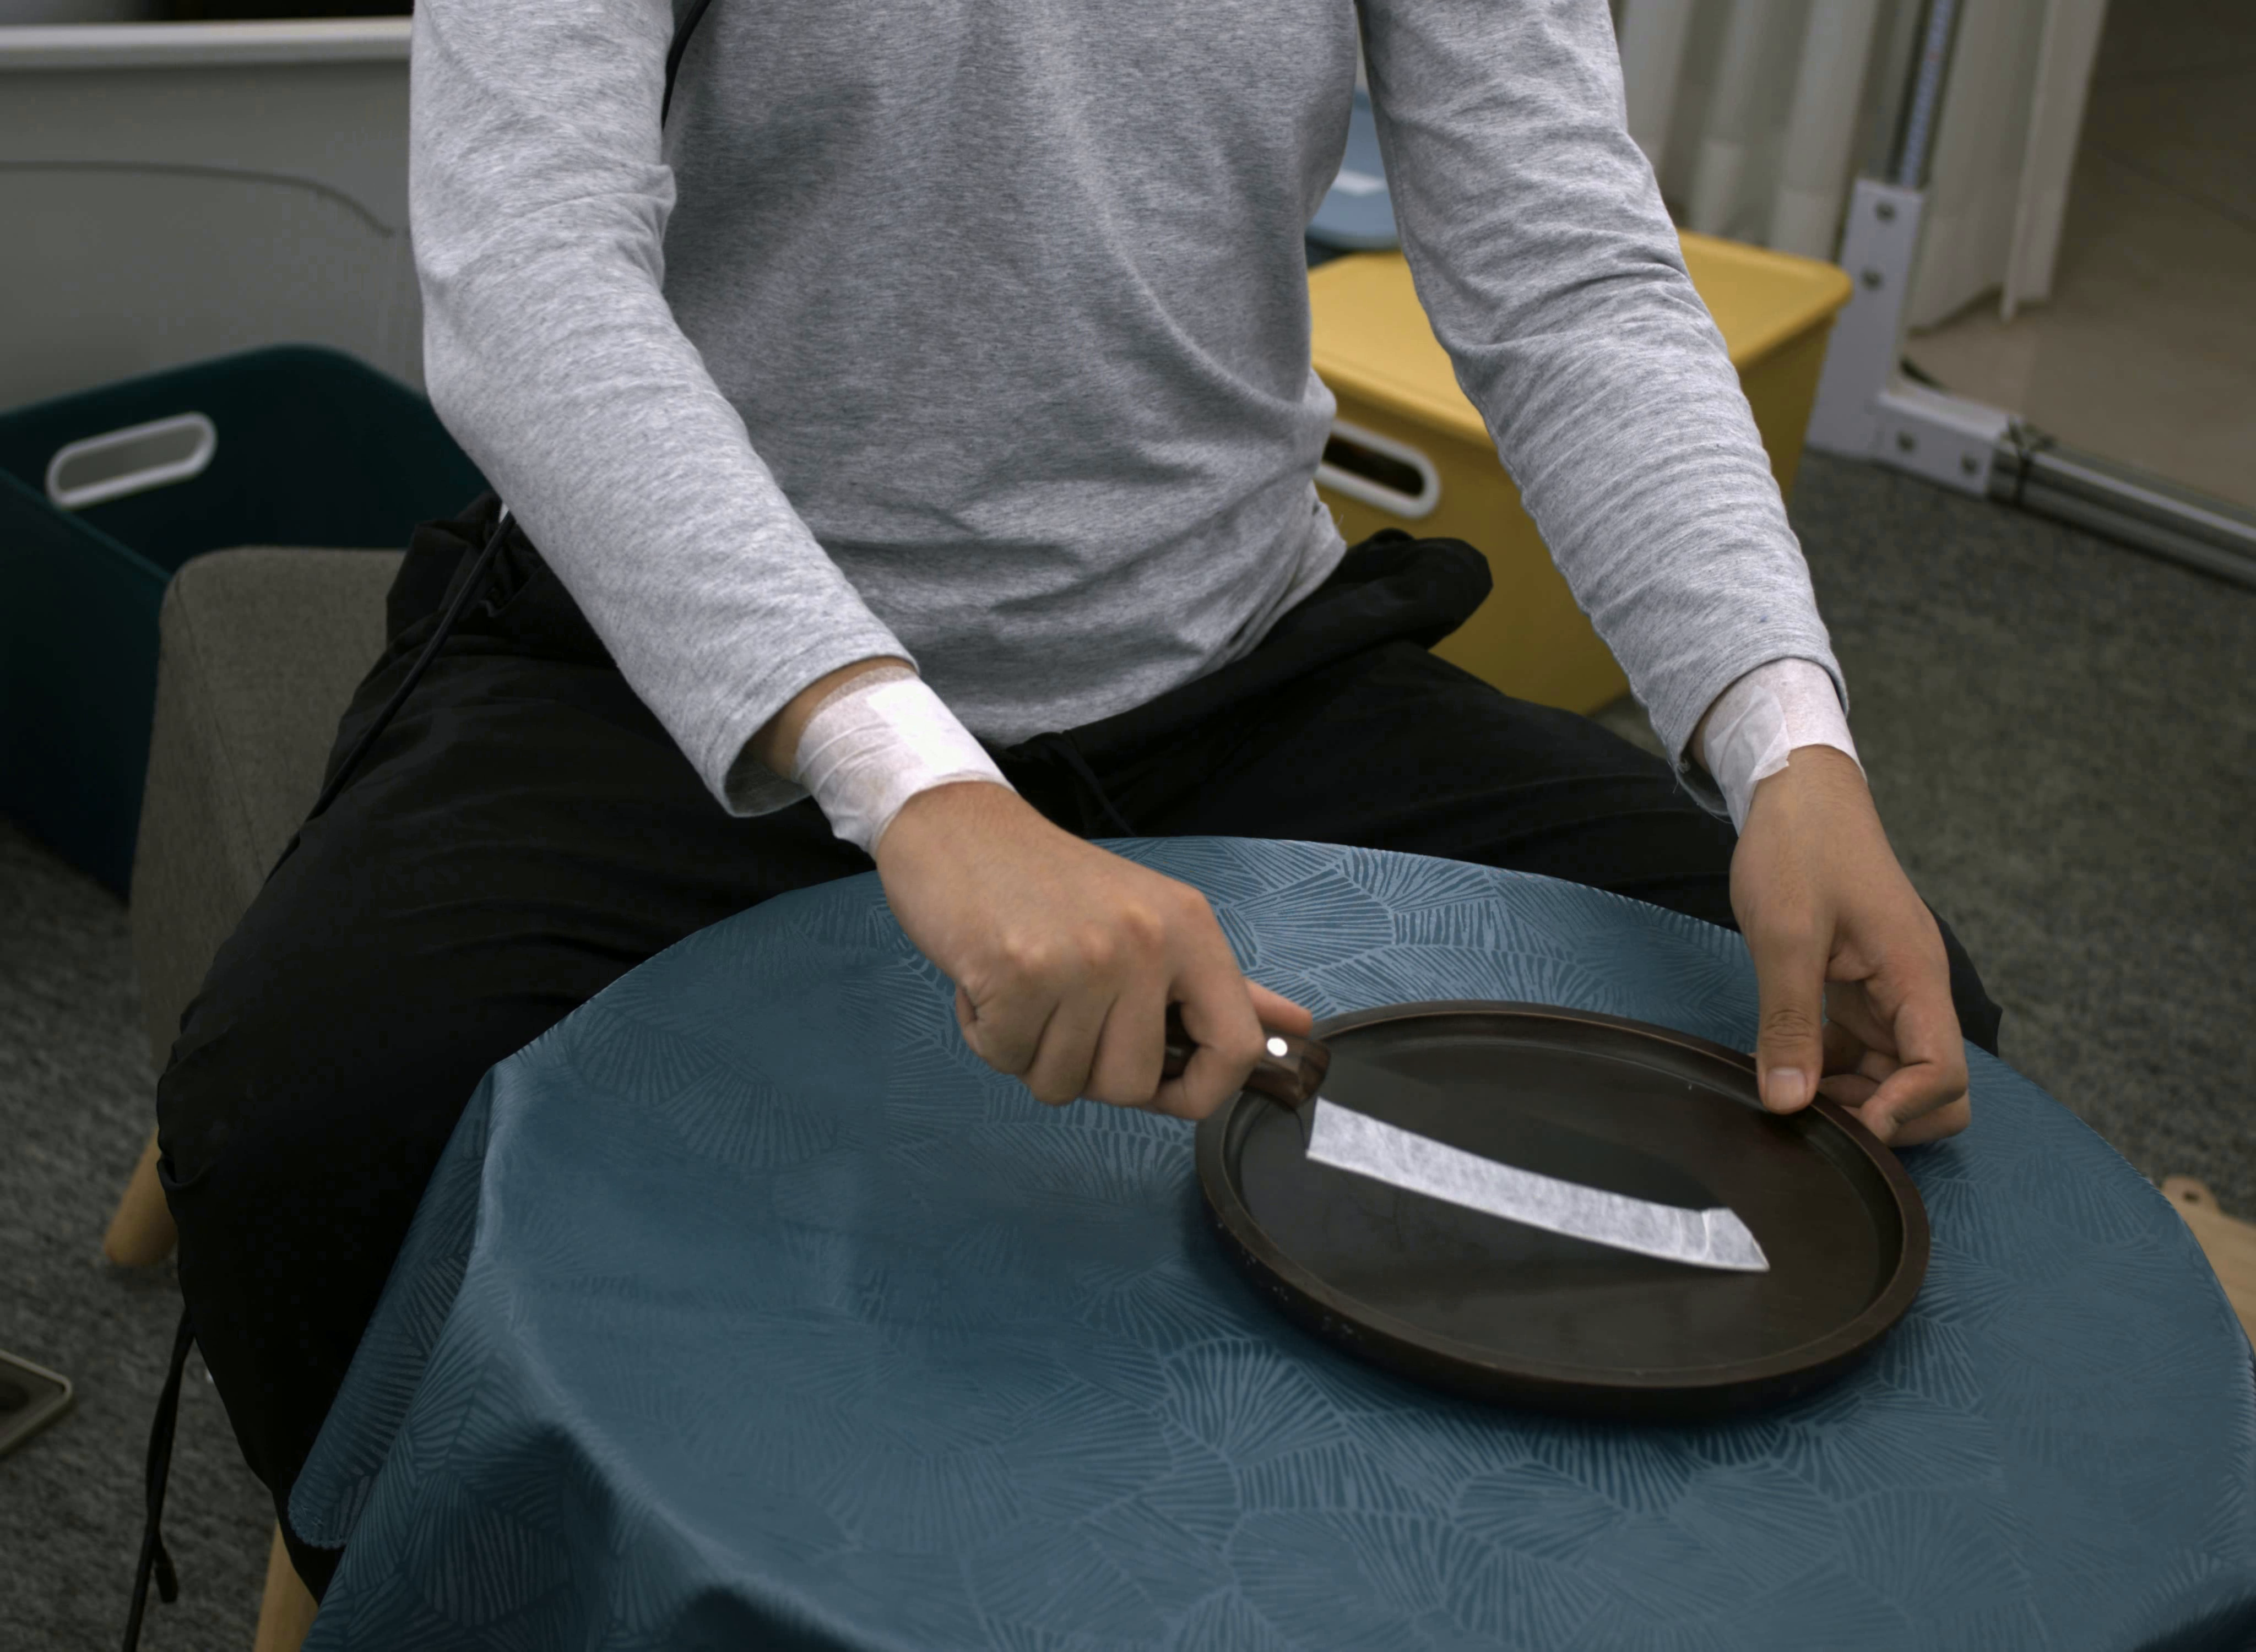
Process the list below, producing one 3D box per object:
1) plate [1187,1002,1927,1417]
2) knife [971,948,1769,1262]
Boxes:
[{"bbox_3d":[0.144,0.128,1.803,0.254,0.029,0.256,4,26,-2],"label":"plate"},{"bbox_3d":[0.082,0.095,1.762,0.288,0.020,0.050,20,52,-9],"label":"knife"}]
